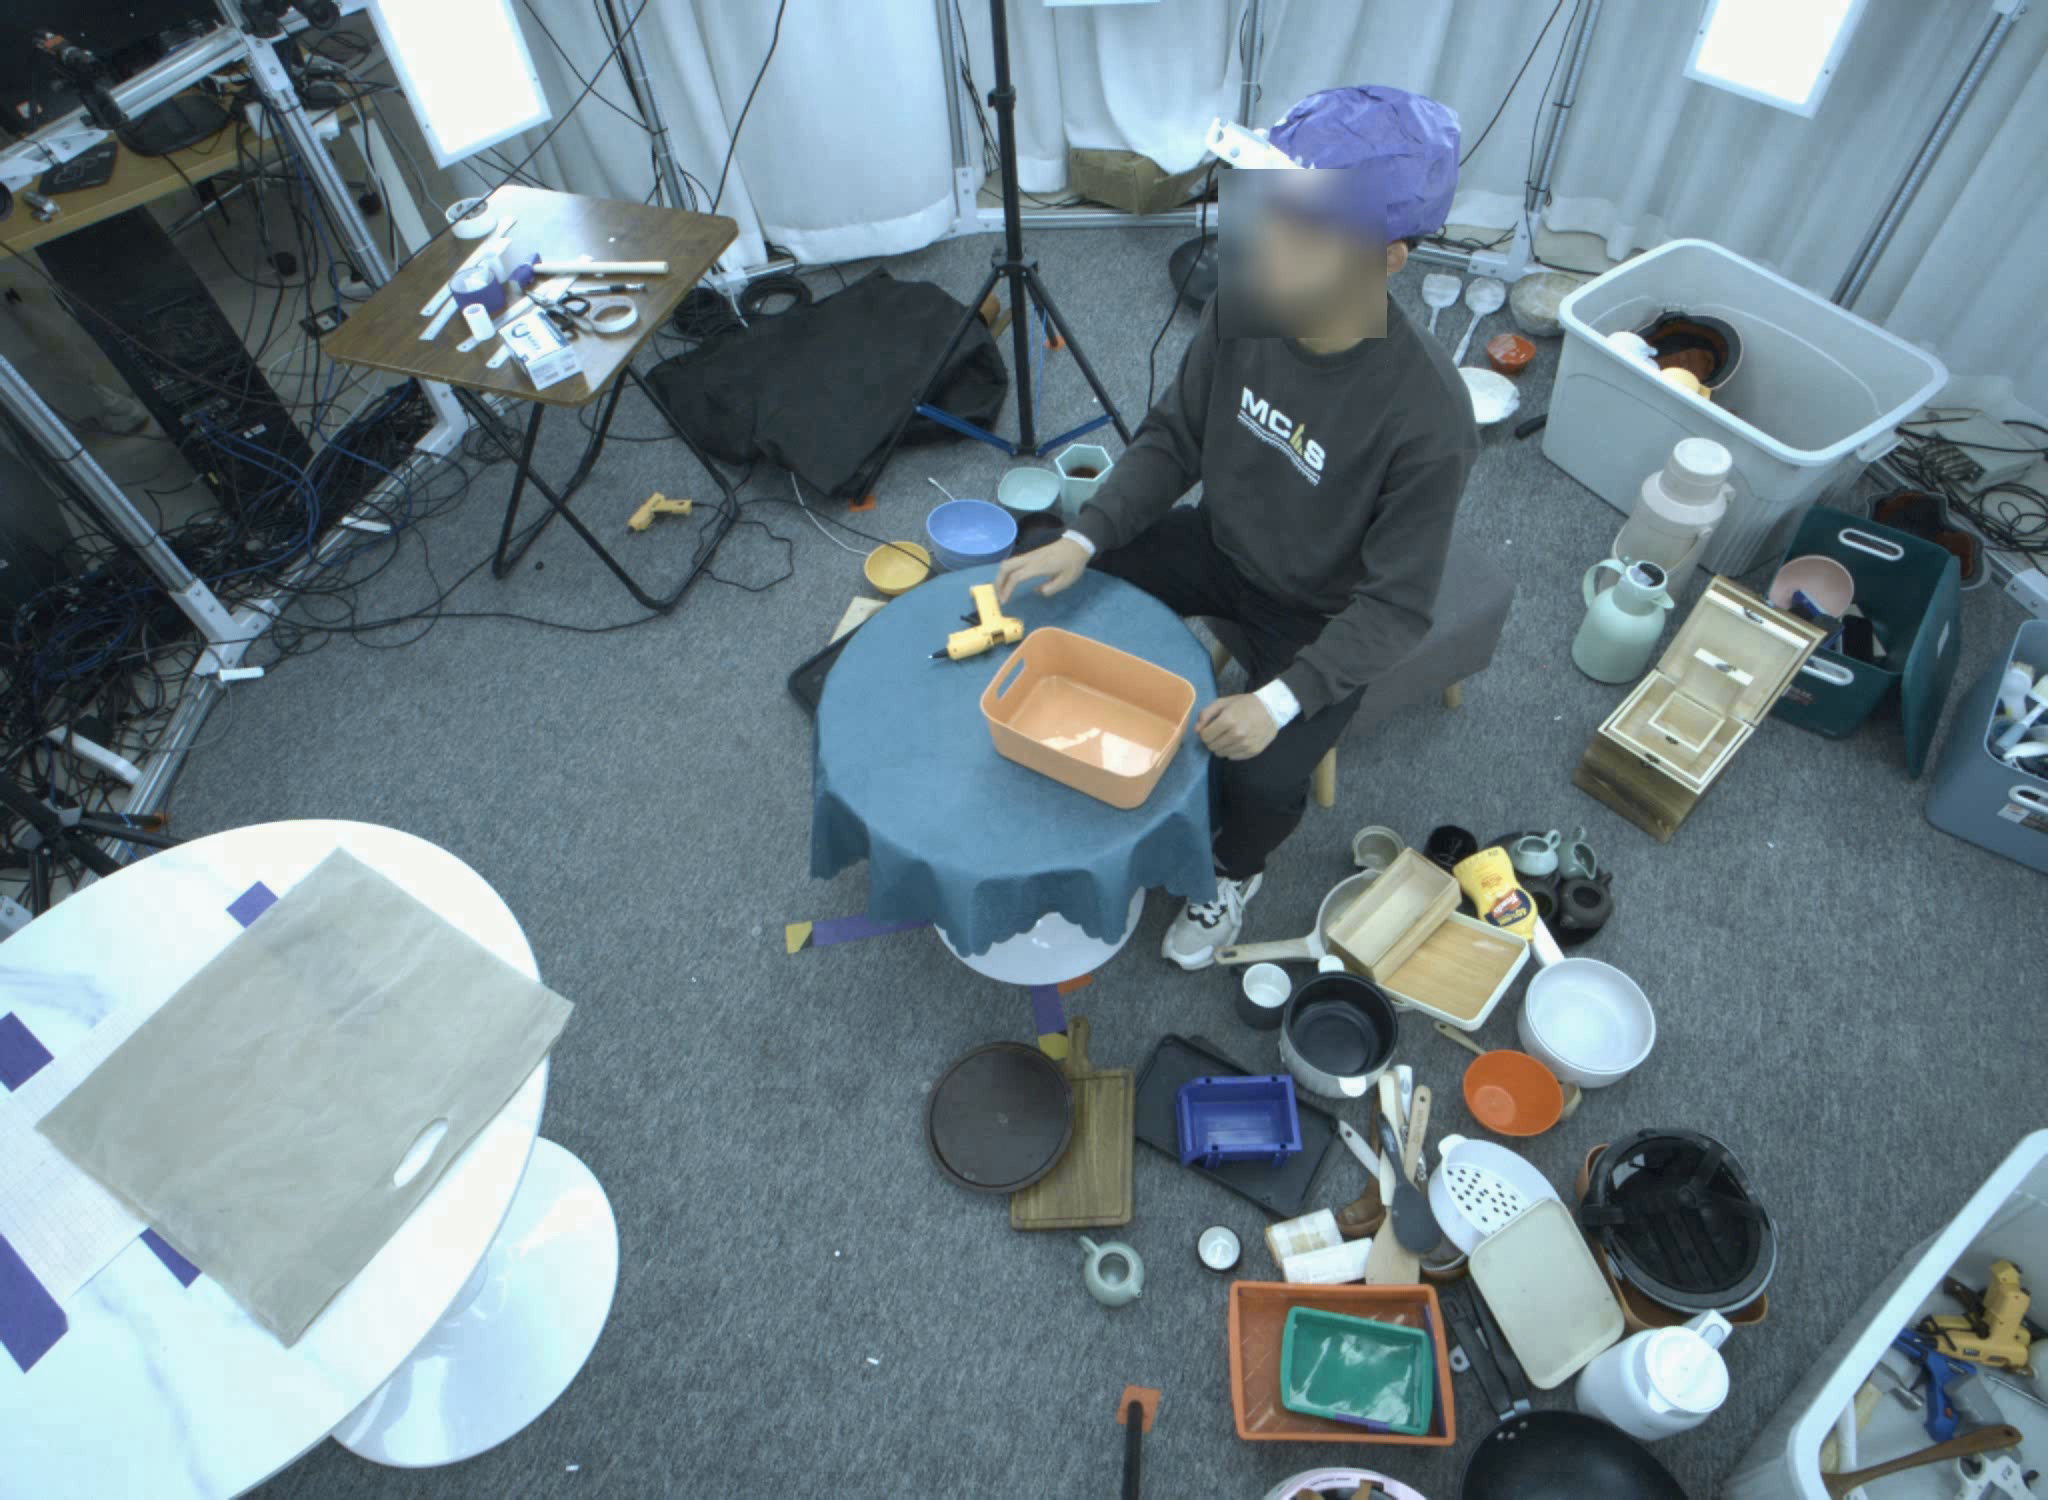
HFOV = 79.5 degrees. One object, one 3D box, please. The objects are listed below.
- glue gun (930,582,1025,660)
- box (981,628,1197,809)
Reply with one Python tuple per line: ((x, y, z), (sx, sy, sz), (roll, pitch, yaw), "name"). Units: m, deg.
((-0.091, -0.195, 1.915), (0.152, 0.031, 0.130), (-21, 55, -13), "glue gun")
((0.094, -0.043, 1.749), (0.269, 0.104, 0.200), (24, 59, 19), "box")
